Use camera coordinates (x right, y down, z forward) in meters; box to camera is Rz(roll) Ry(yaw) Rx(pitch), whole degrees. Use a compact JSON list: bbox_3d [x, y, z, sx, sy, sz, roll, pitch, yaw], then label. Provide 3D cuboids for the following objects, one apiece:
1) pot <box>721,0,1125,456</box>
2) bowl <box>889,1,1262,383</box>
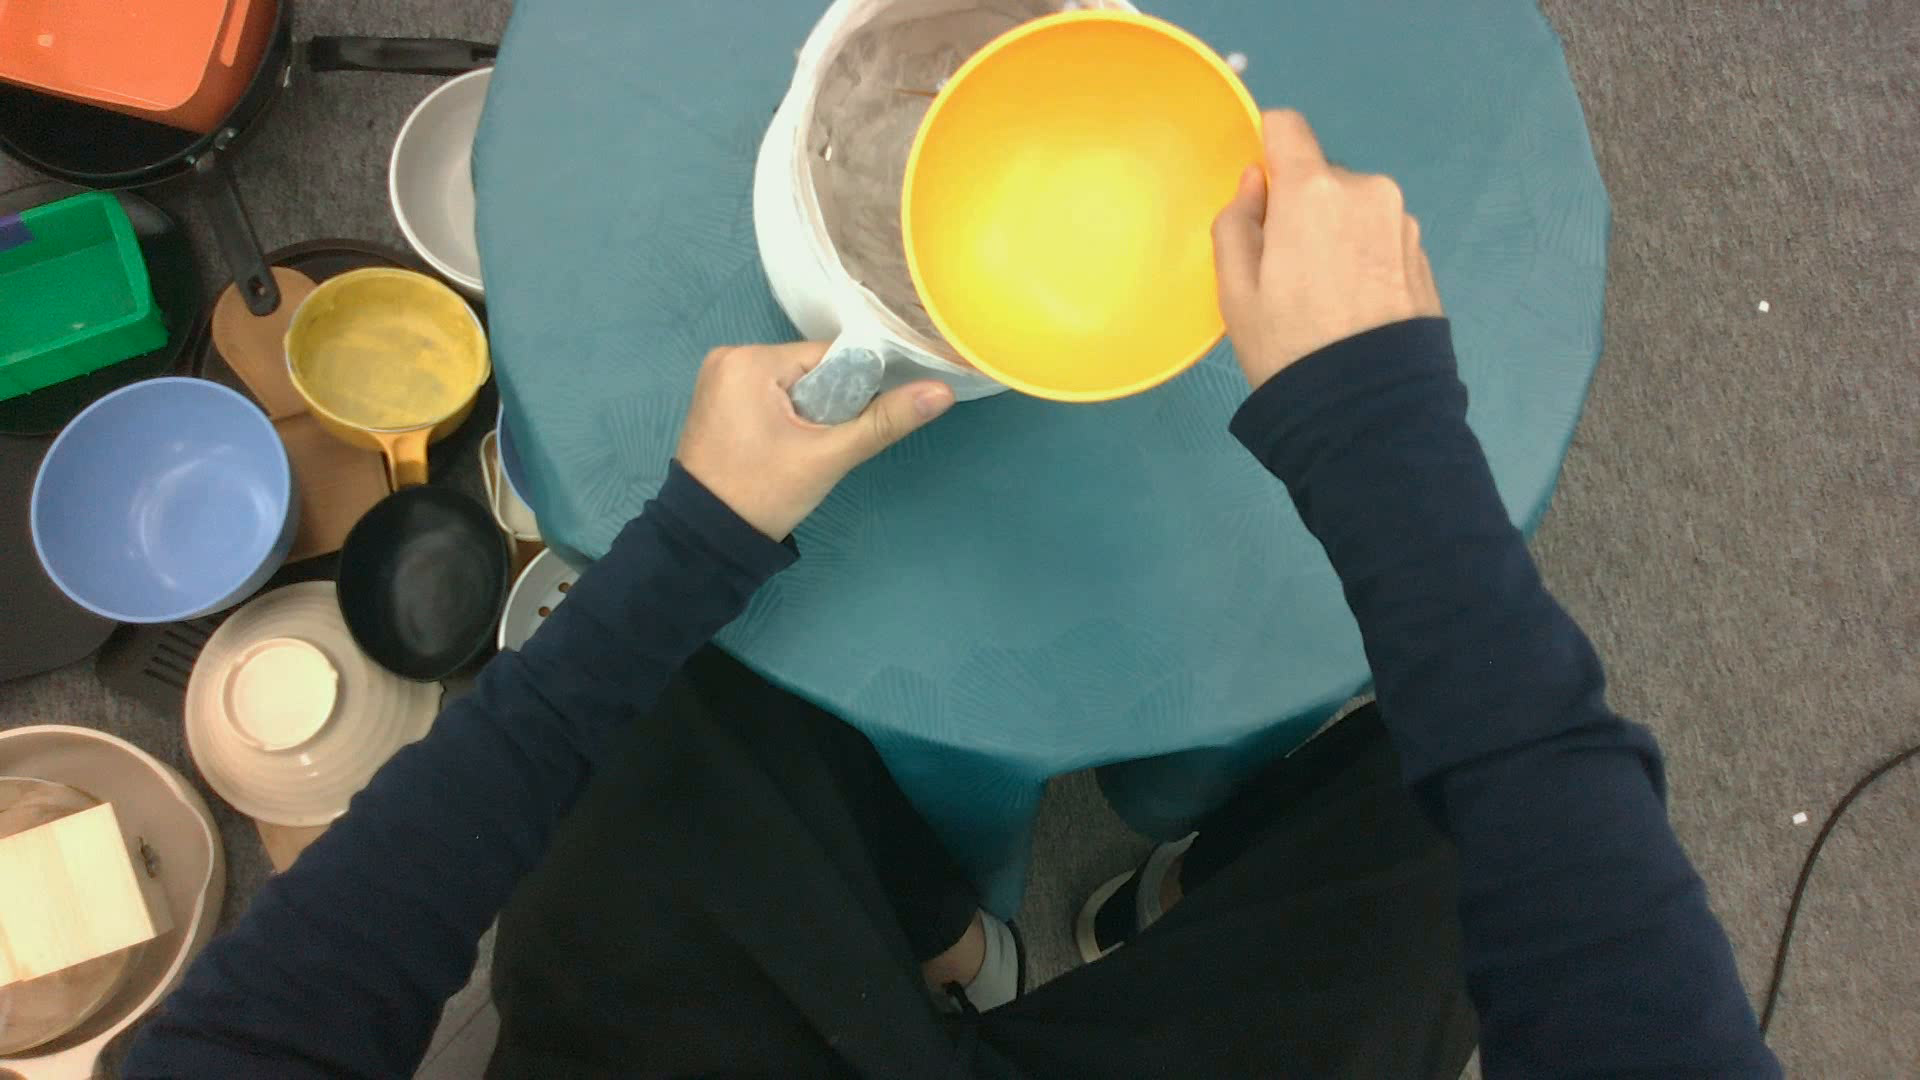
[{"bbox_3d":[-0.023,-0.138,0.619,0.178,0.136,0.234,36,82,-15],"label":"pot"},{"bbox_3d":[0.049,-0.132,0.549,0.145,0.060,0.145,0,91,16],"label":"bowl"}]
